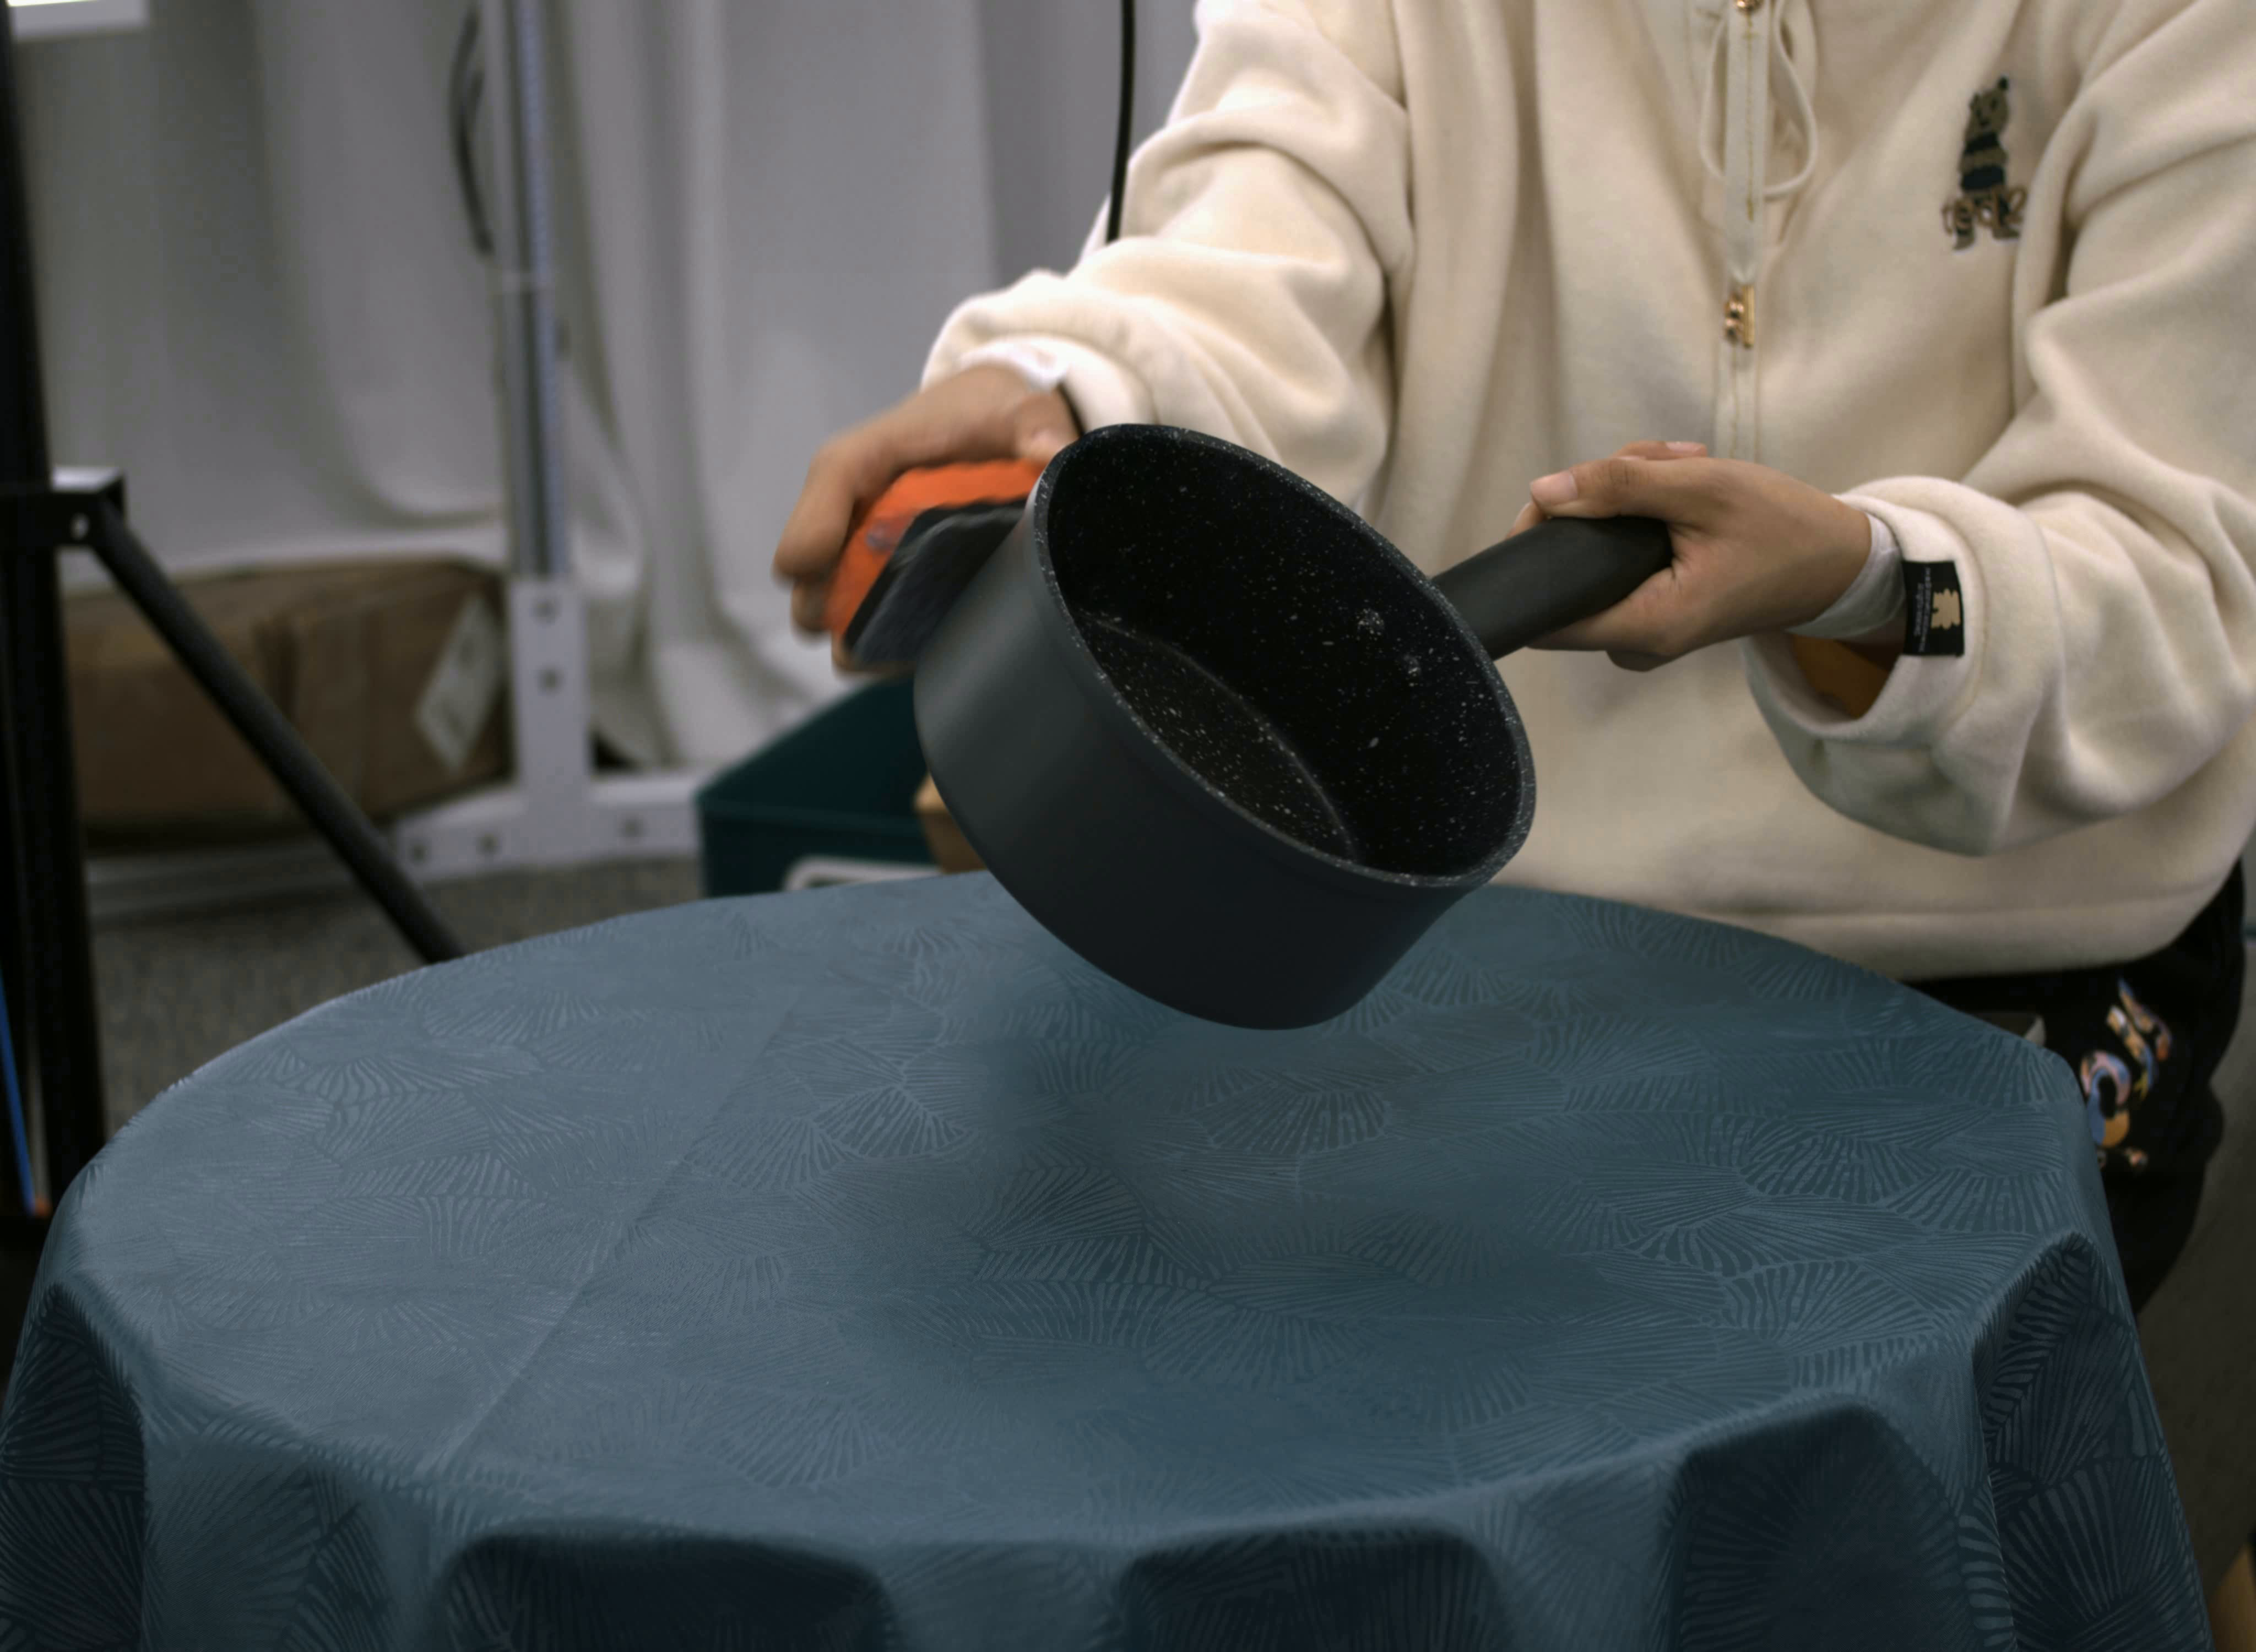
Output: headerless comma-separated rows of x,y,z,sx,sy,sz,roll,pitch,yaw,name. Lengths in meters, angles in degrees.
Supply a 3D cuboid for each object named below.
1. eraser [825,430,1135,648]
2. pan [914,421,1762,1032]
-0.037,-0.084,1.552,0.105,0.059,0.023,-10,50,-49,eraser
0.073,-0.042,1.562,0.321,0.087,0.174,-17,63,-50,pan
